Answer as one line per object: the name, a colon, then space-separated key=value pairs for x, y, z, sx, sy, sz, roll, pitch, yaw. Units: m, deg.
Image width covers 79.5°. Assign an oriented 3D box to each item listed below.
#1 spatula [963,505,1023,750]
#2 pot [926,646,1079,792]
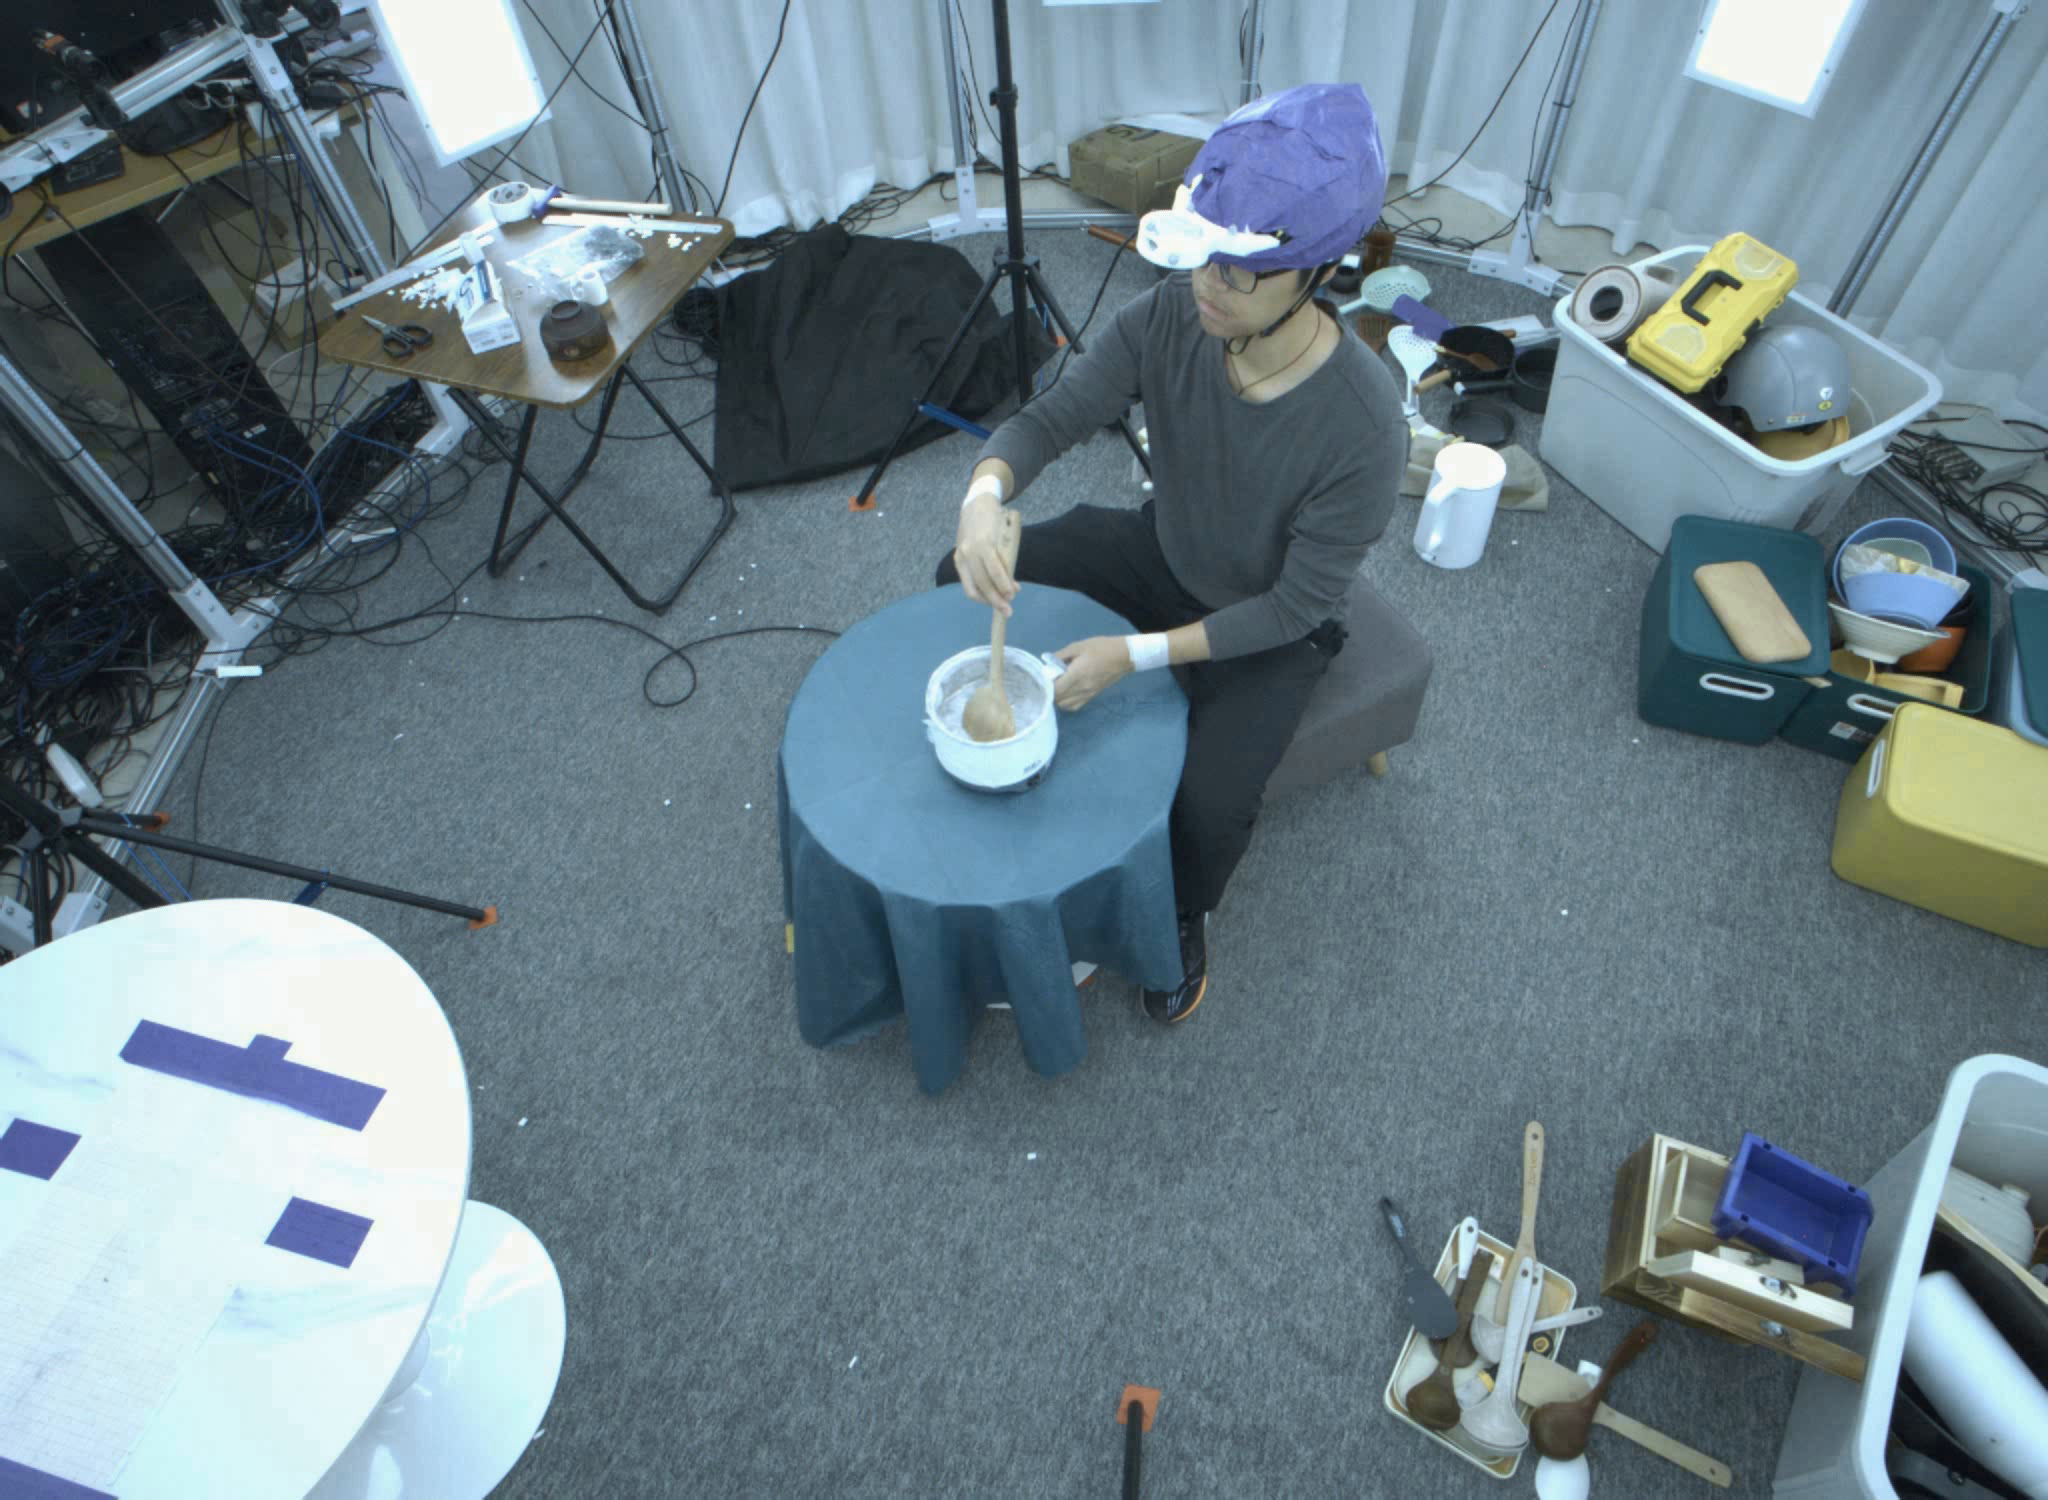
spatula: x=-0.033 y=-0.149 z=1.585 sx=0.094 sy=0.394 sz=0.018 roll=35 pitch=51 yaw=26
pot: x=-0.021 y=-0.054 z=1.751 sx=0.235 sy=0.138 sz=0.175 roll=-34 pitch=60 yaw=-21
